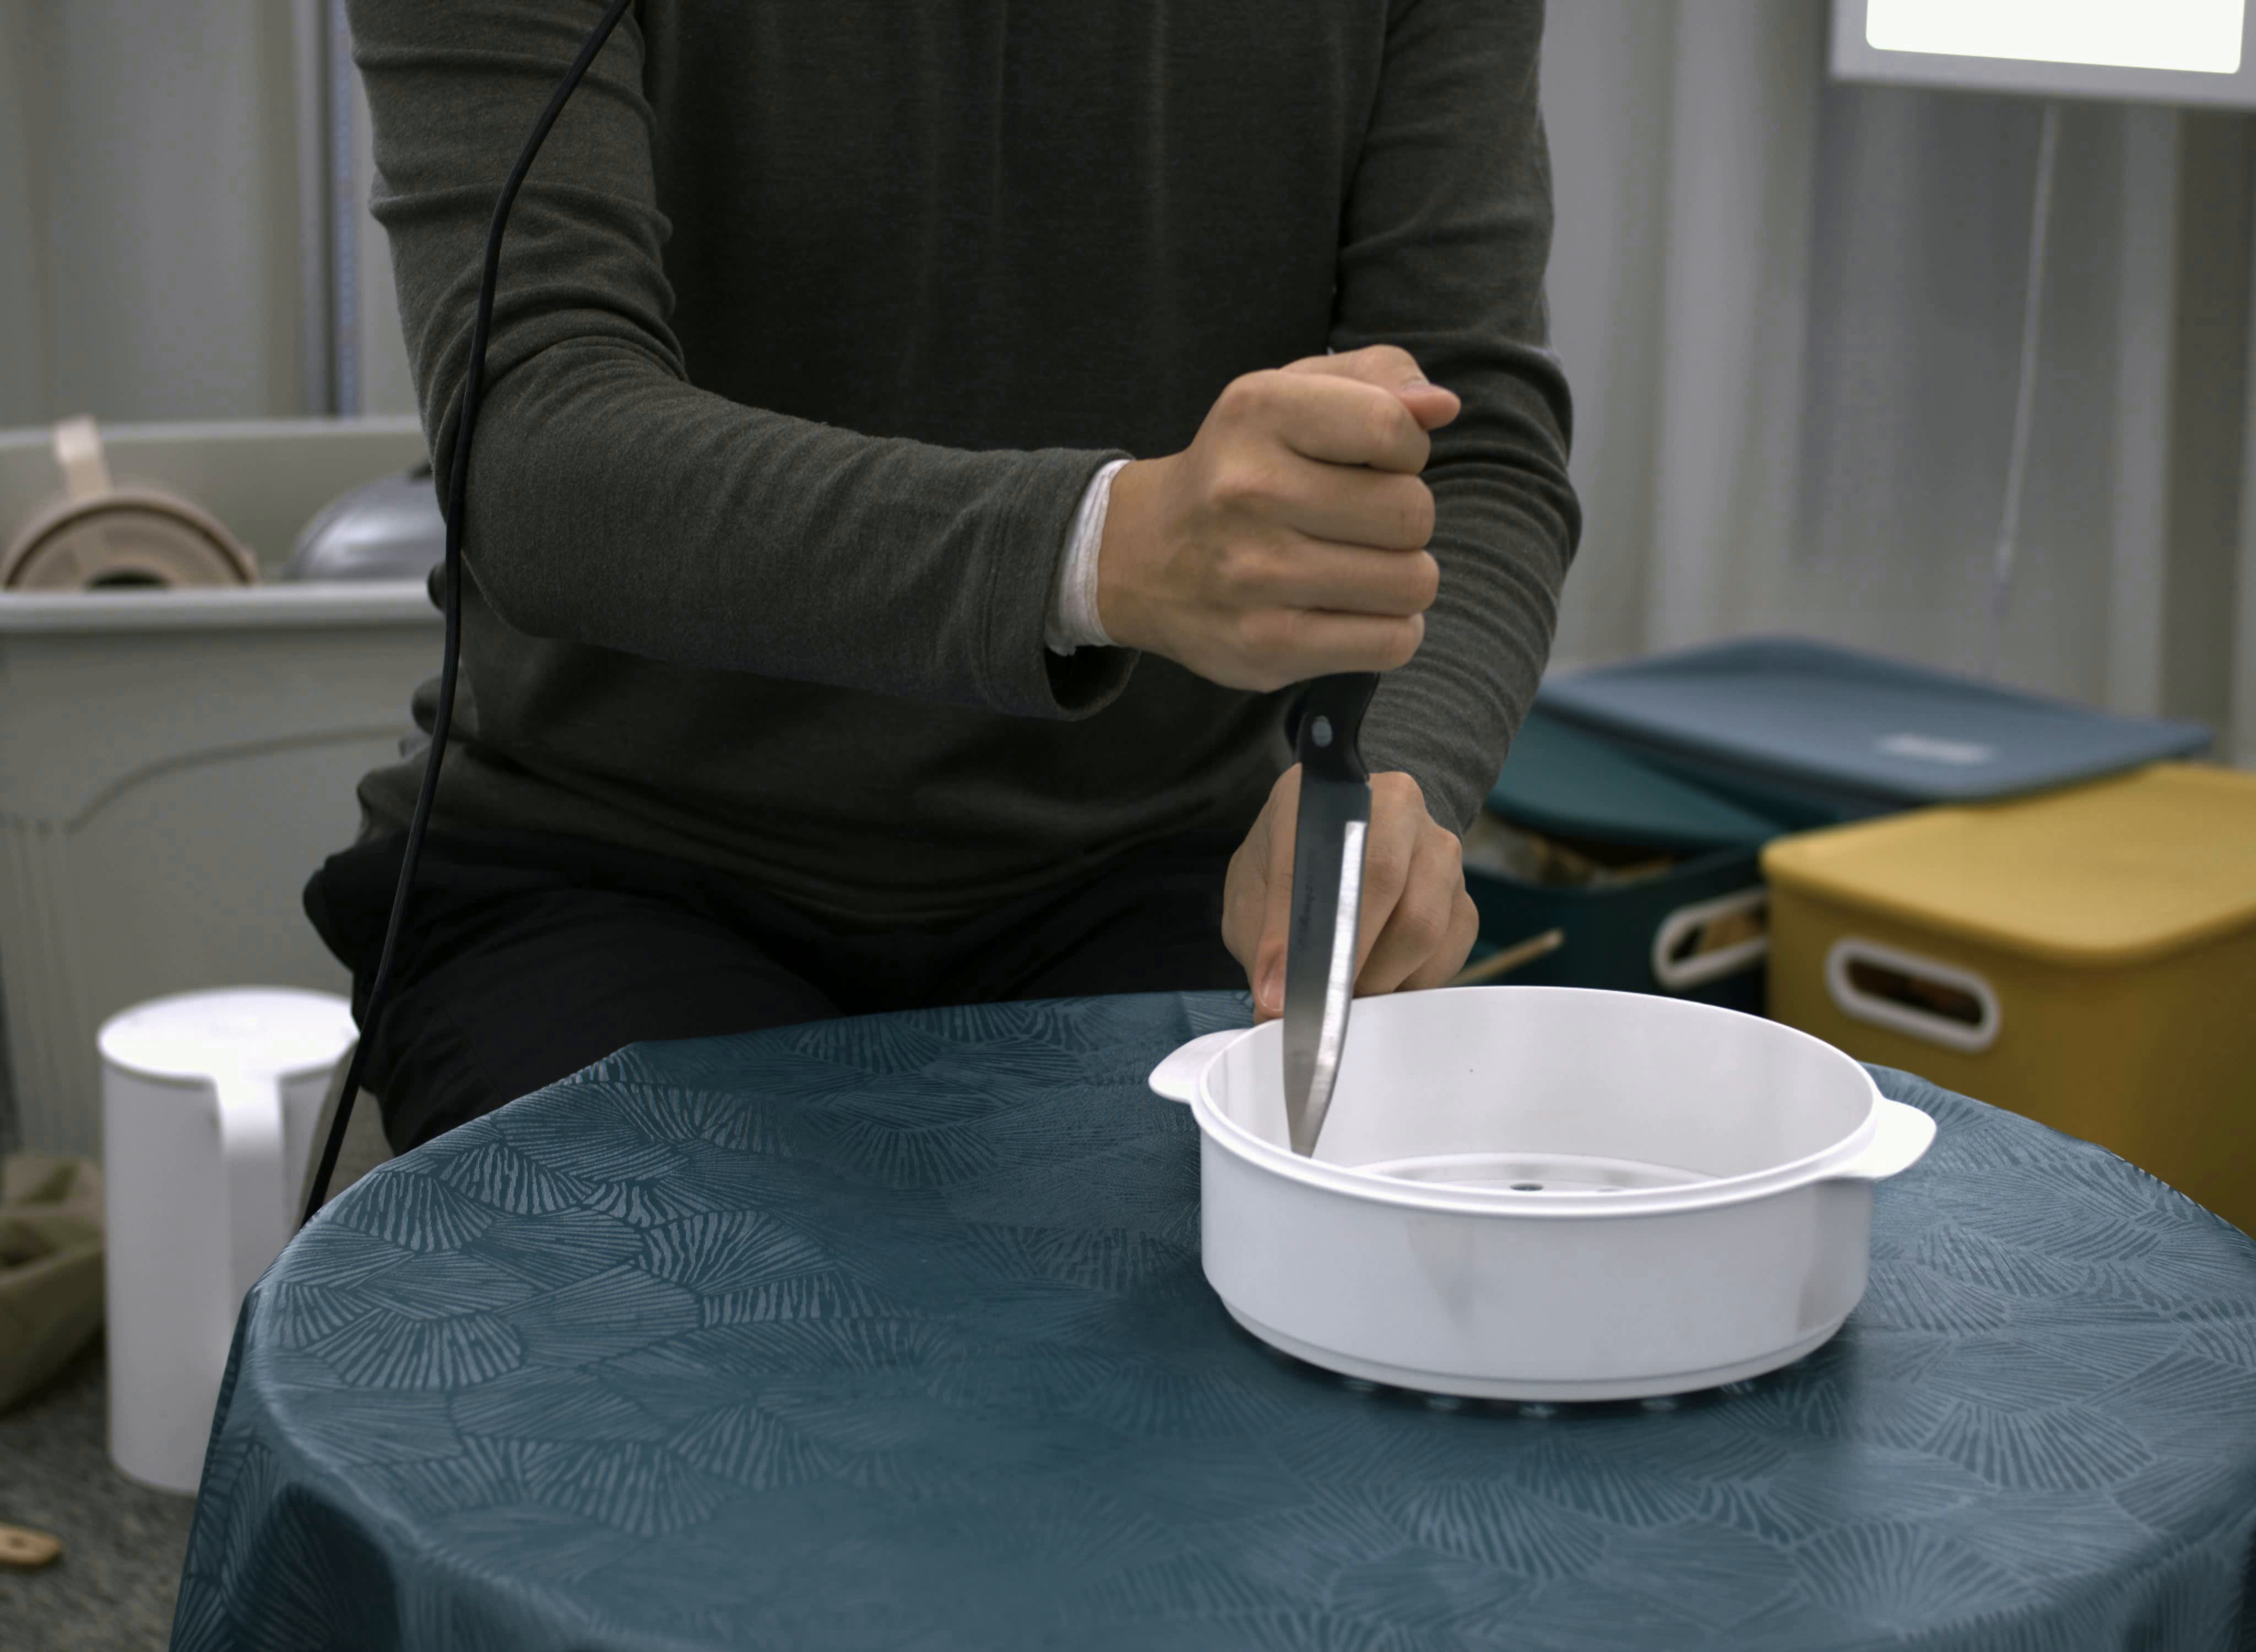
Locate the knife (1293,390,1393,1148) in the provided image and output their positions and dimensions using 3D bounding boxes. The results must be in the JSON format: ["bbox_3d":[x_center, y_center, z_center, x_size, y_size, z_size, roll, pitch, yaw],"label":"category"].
[{"bbox_3d":[0.059,-0.009,1.513,0.024,0.240,0.016,11,20,25],"label":"knife"}]

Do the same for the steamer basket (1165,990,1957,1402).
[{"bbox_3d":[0.123,0.106,1.524,0.228,0.070,0.202,6,16,20],"label":"steamer basket"}]
